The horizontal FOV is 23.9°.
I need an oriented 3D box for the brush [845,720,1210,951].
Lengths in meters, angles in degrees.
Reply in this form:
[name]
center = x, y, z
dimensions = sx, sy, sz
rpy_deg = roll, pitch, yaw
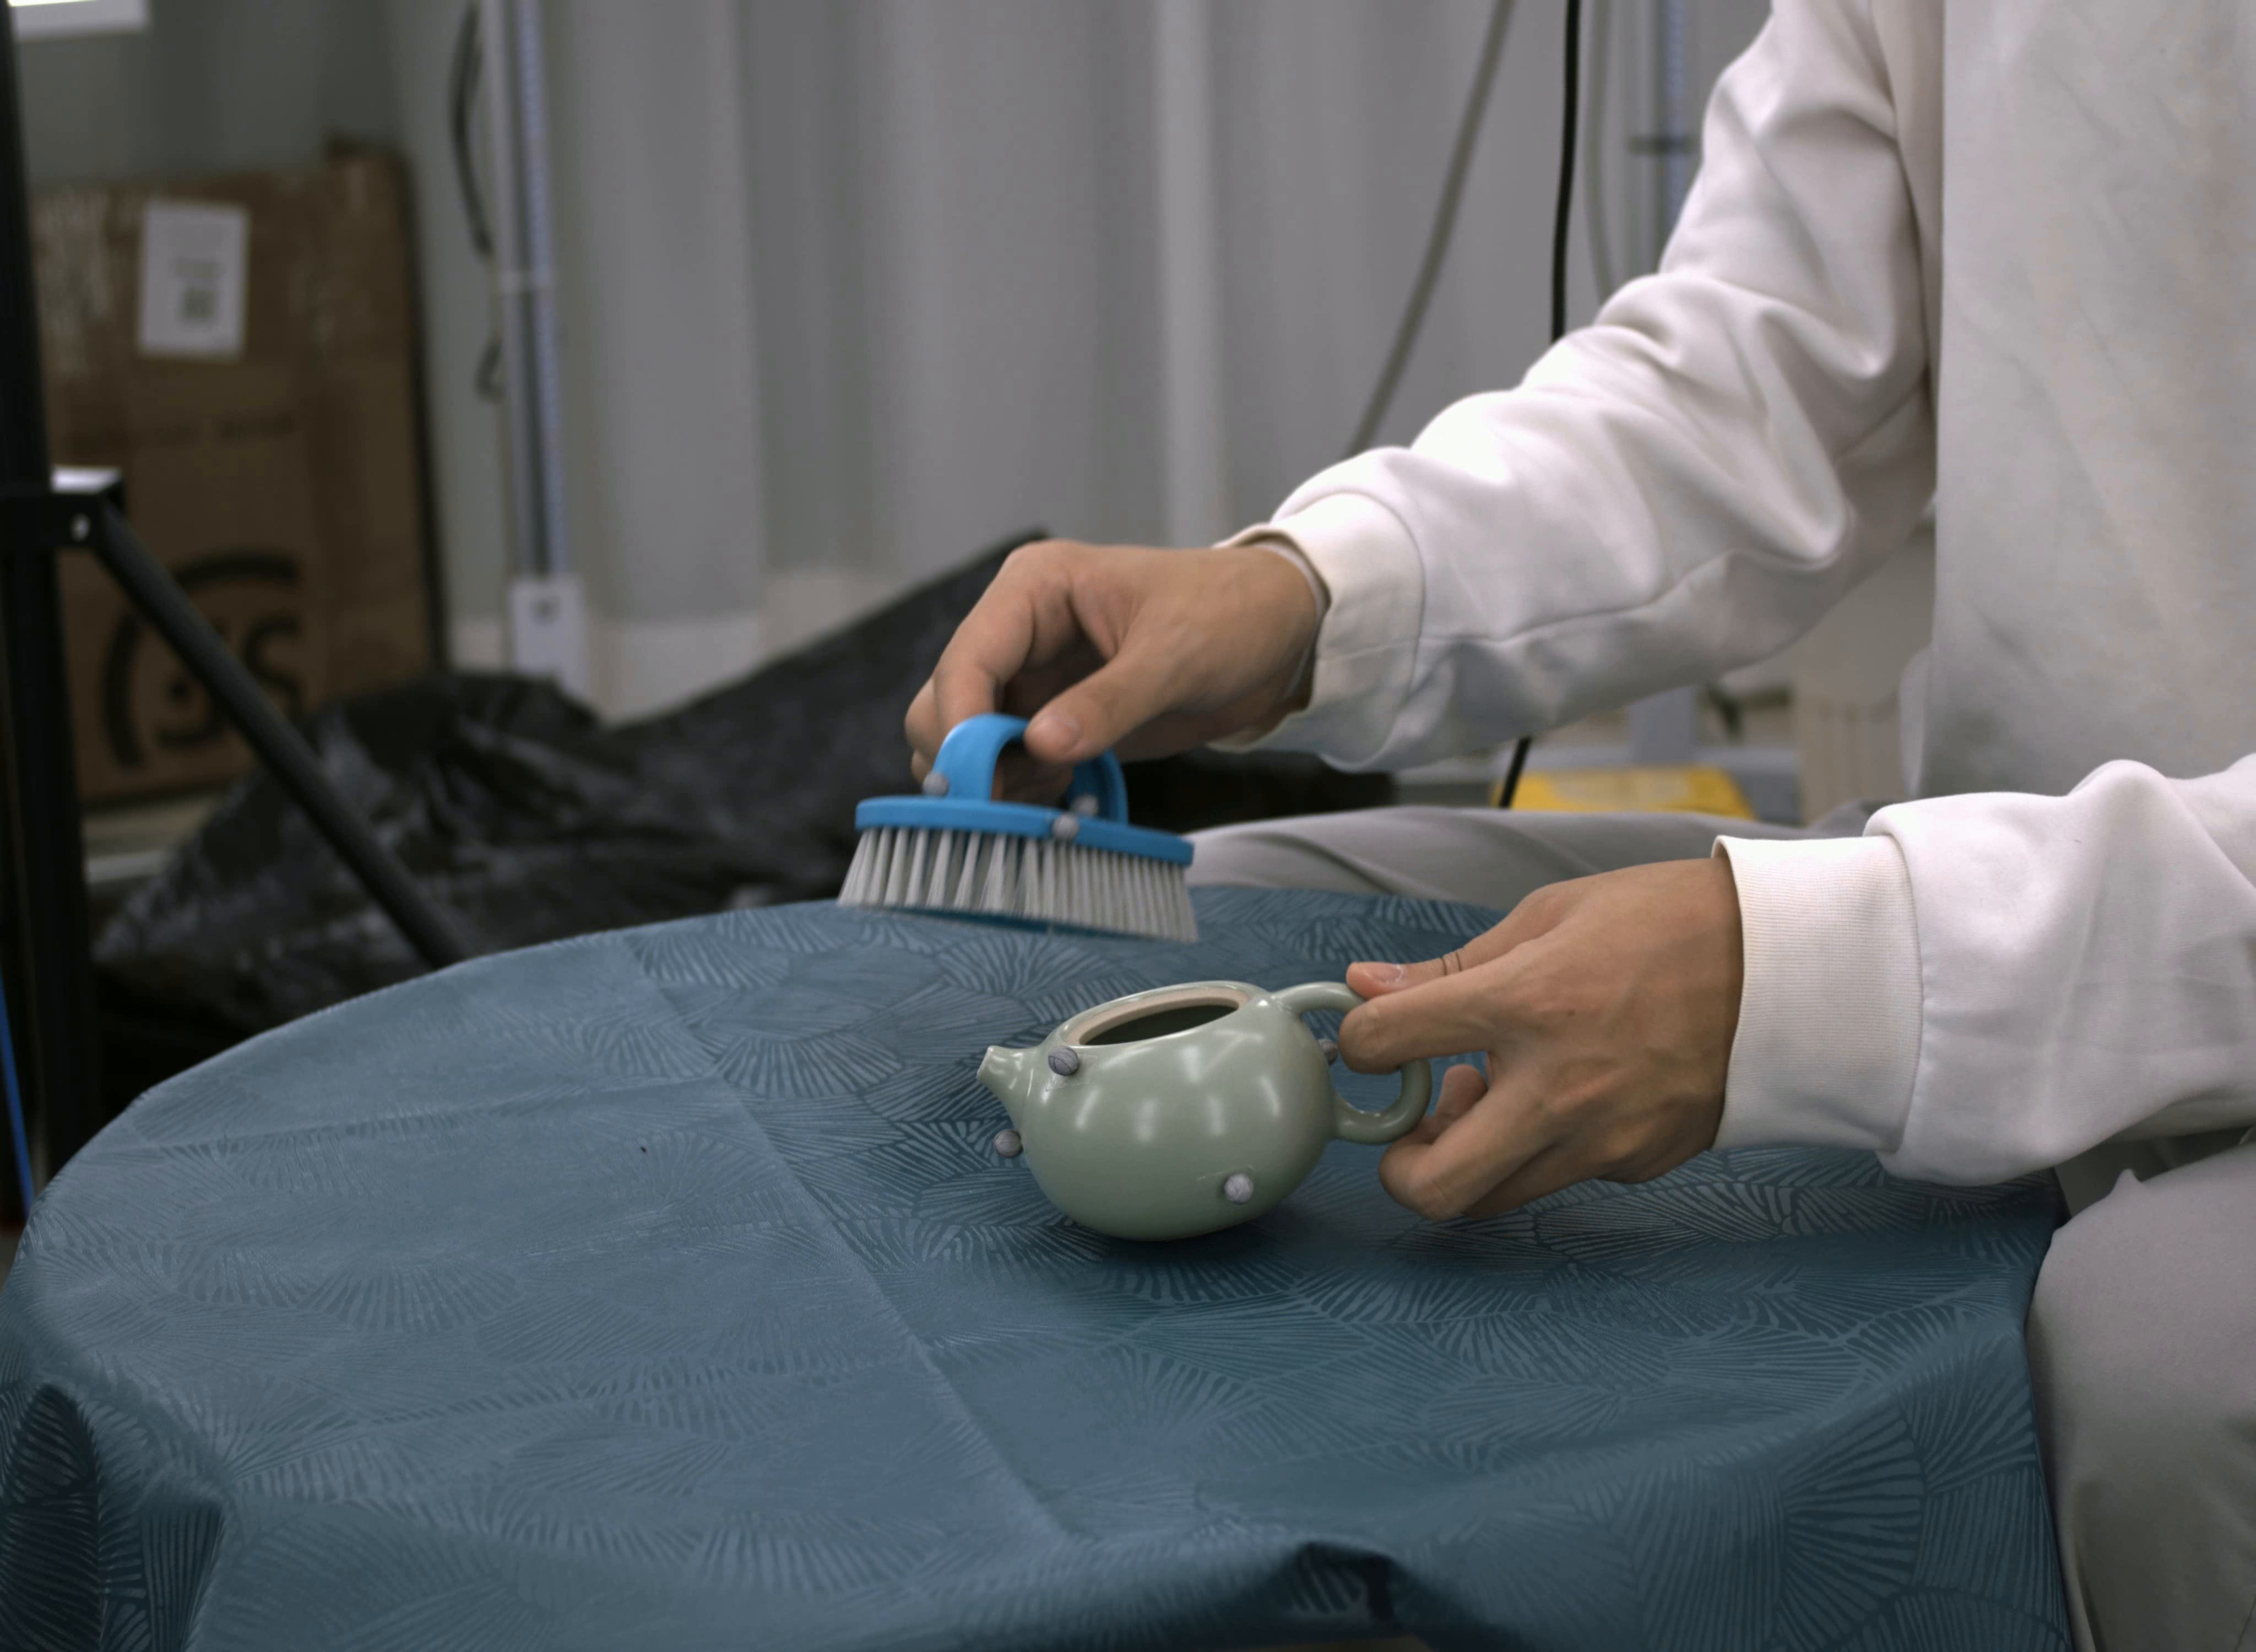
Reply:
[brush]
center = -0.031, 0.002, 1.661
dimensions = 0.086, 0.064, 0.138
rpy_deg = -3, -9, 33

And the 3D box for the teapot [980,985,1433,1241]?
[teapot]
center = 0.024, 0.081, 1.521
dimensions = 0.129, 0.061, 0.091
rpy_deg = -9, 9, 11
